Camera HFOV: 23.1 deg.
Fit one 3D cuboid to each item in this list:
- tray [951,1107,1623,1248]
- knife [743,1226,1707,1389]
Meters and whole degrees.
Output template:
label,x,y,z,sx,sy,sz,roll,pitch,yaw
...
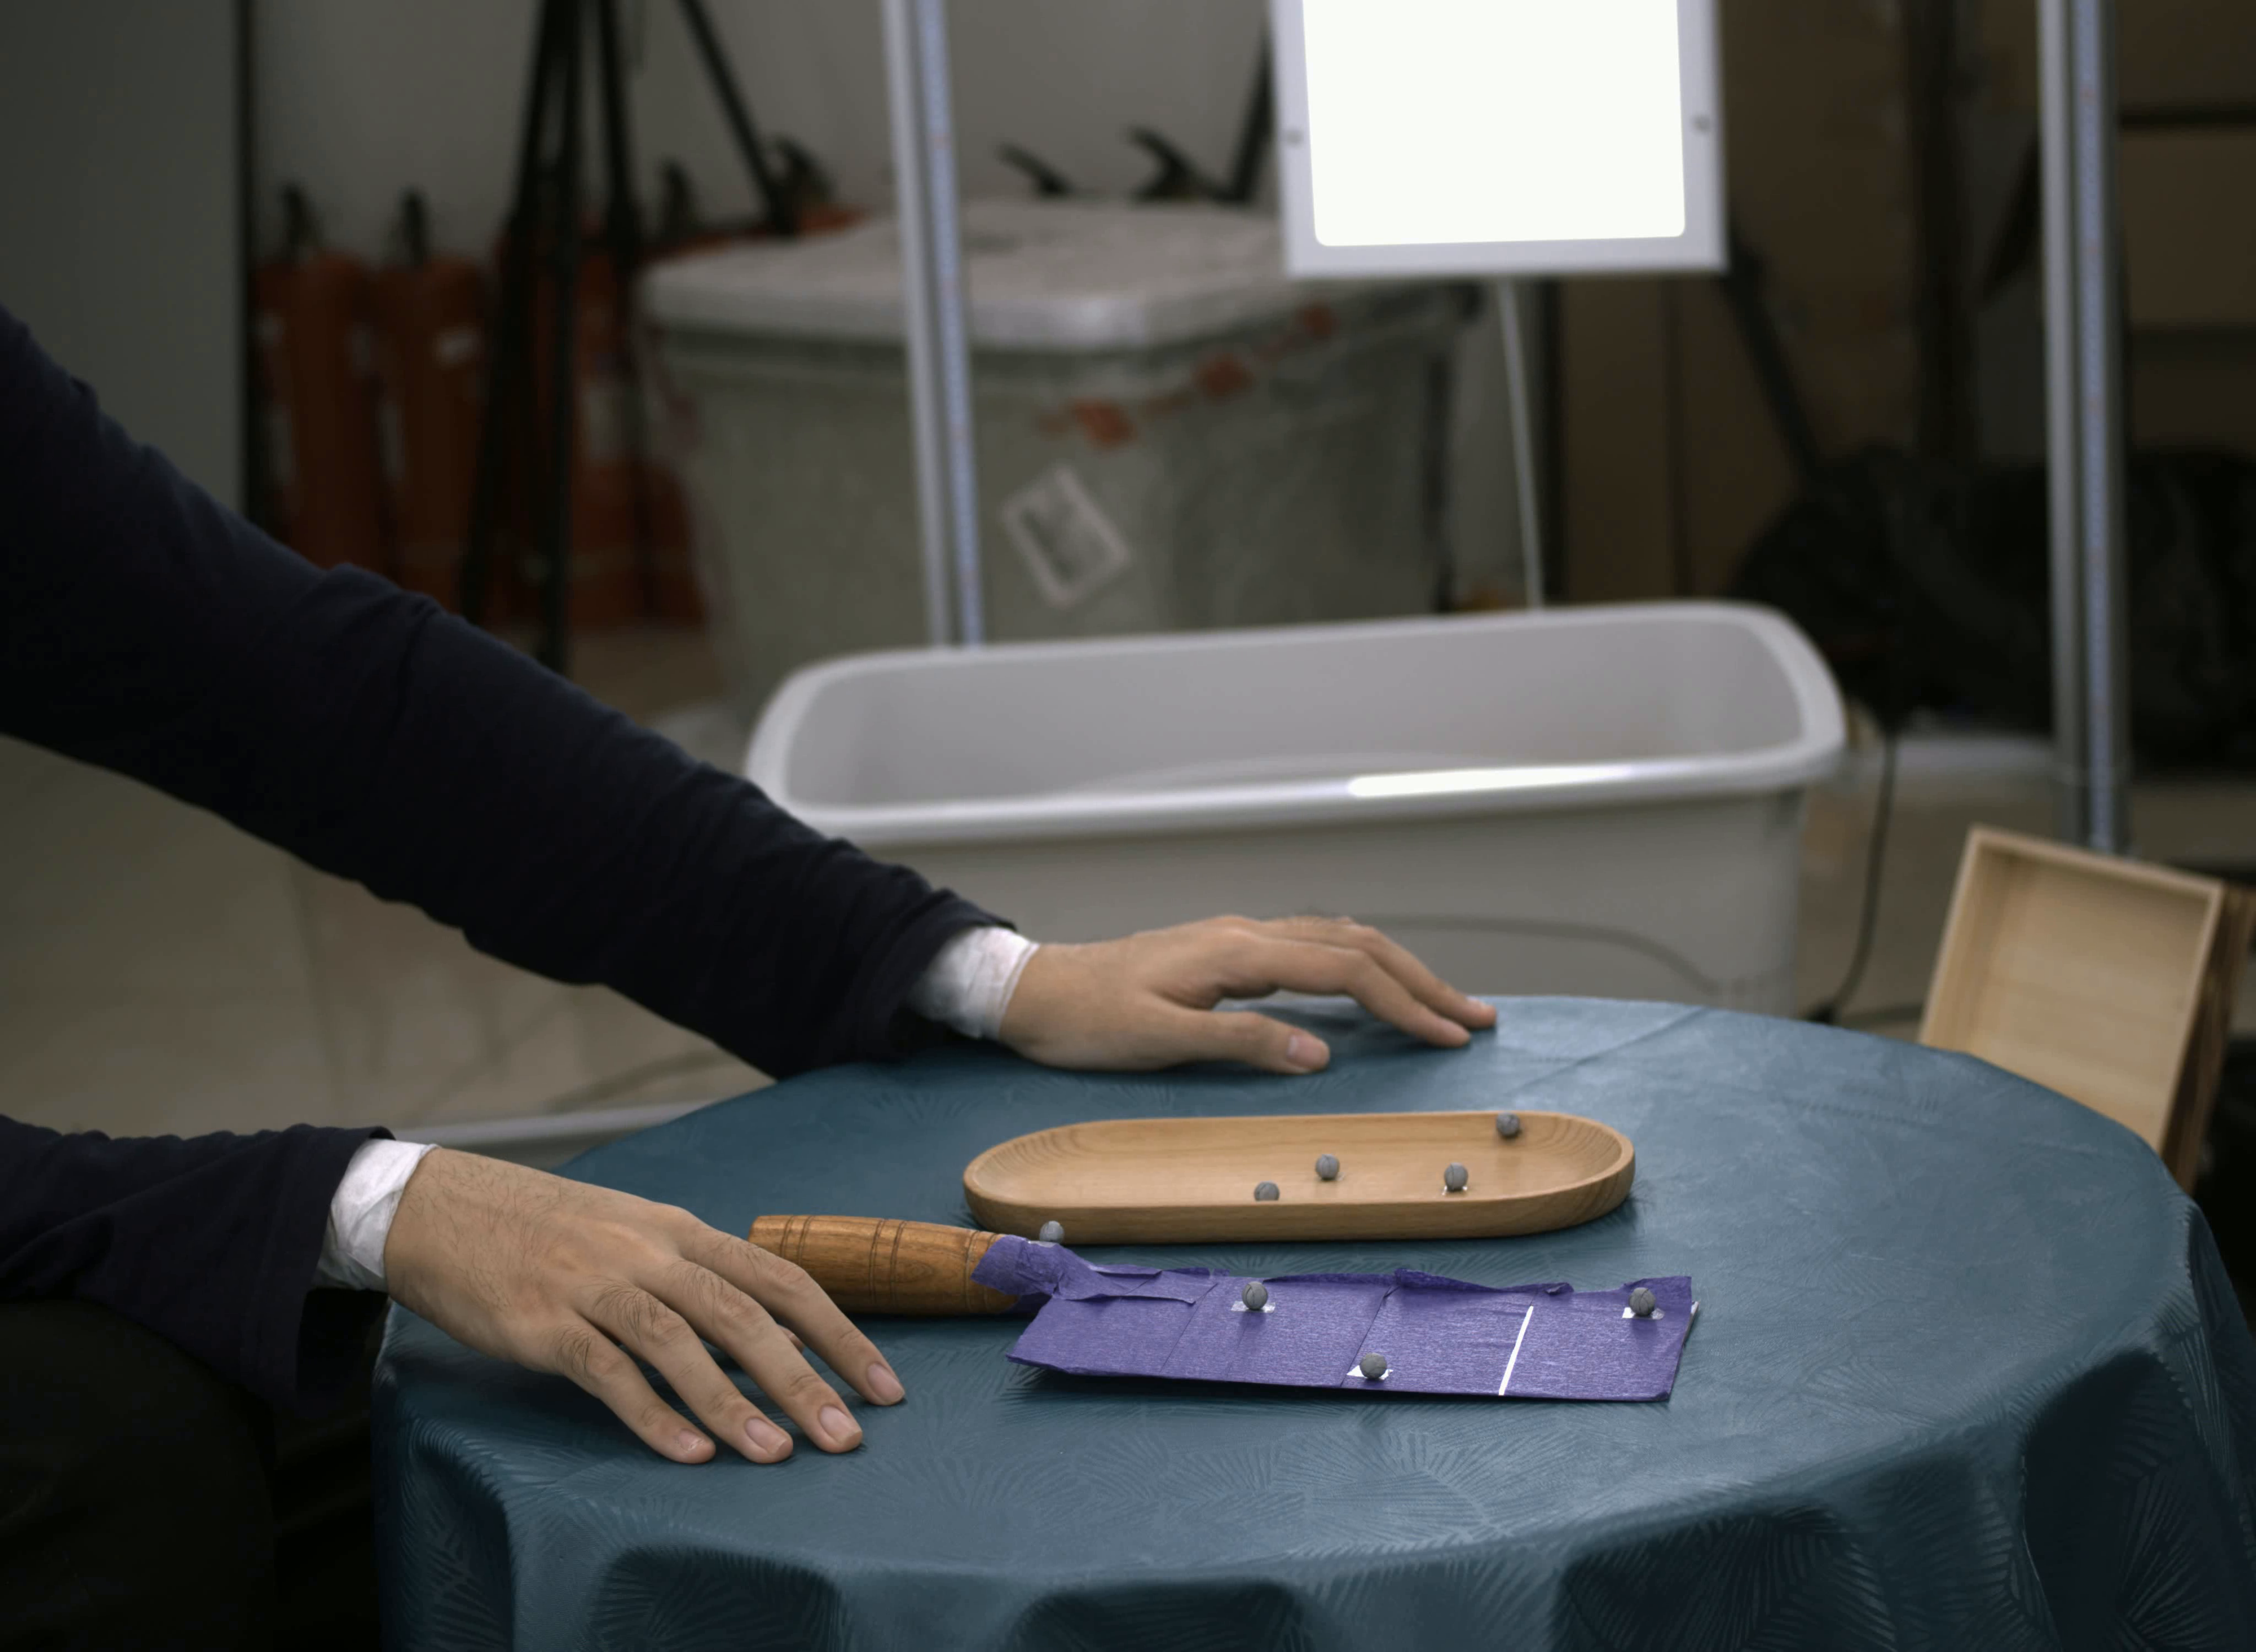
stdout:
label,x,y,z,sx,sy,sz,roll,pitch,yaw
tray,0.054,0.120,1.875,0.233,0.020,0.100,-4,13,12
knife,0.023,0.152,1.733,0.318,0.032,0.102,-1,14,16
